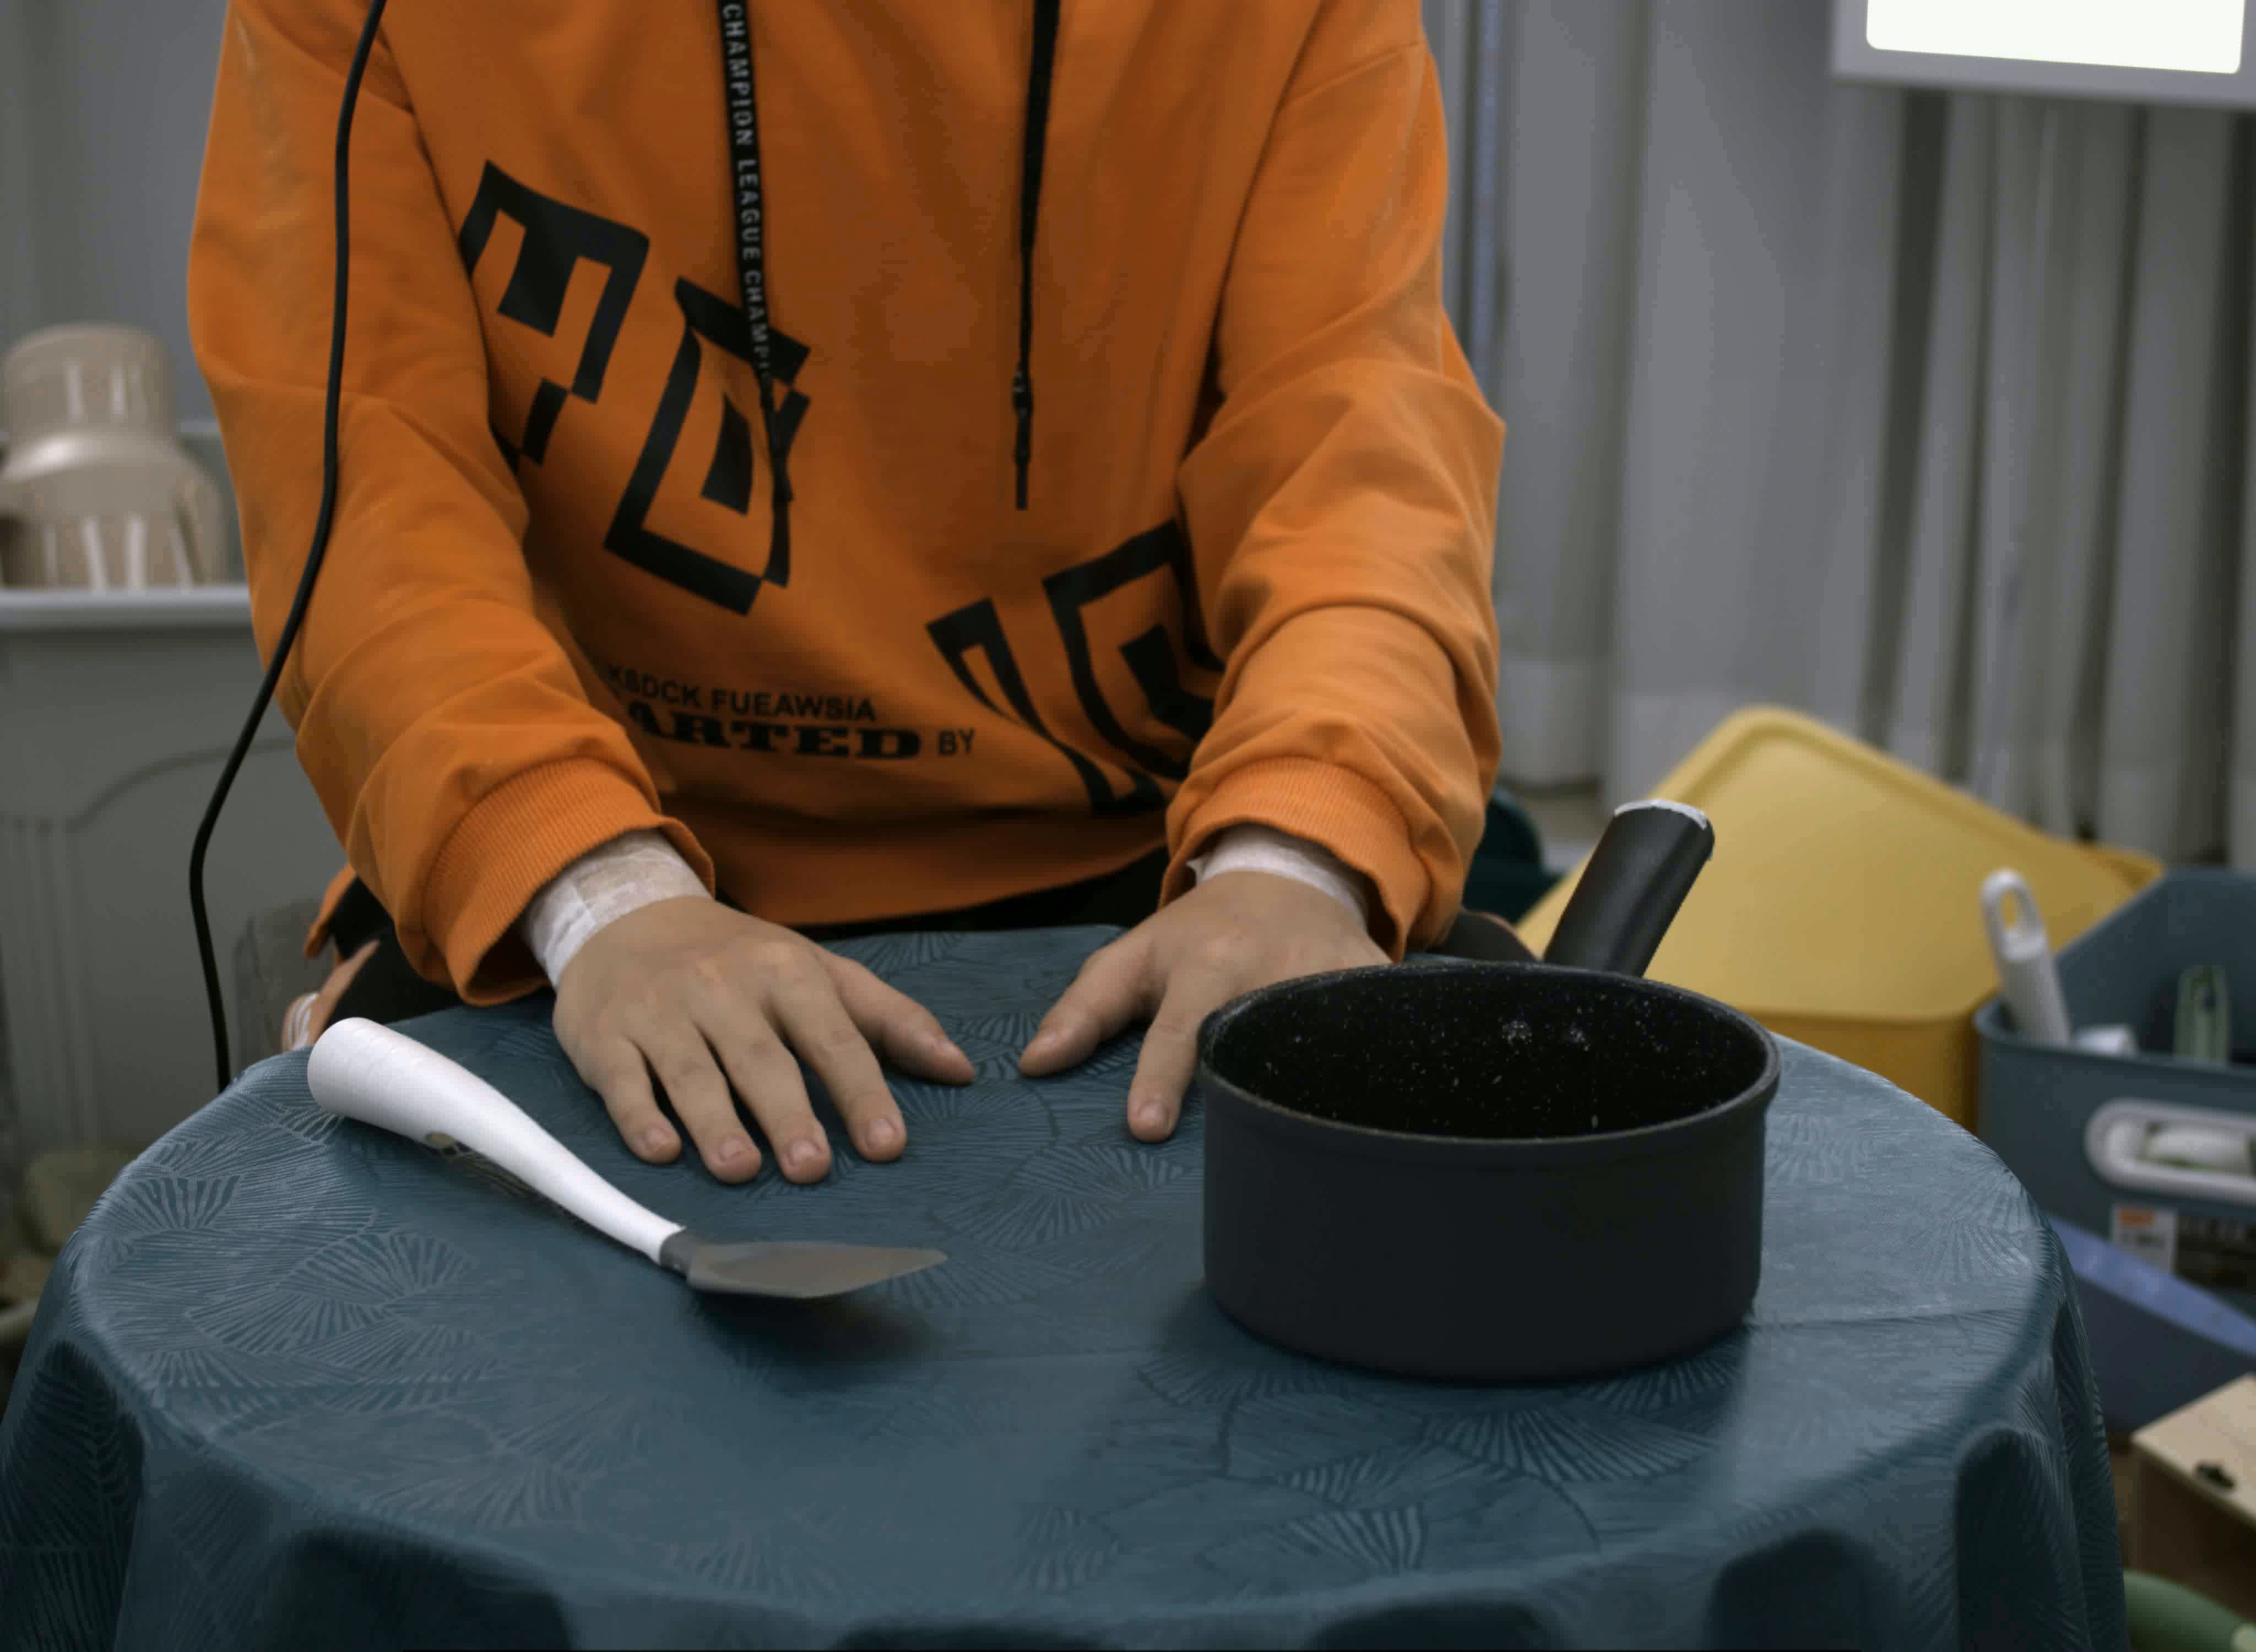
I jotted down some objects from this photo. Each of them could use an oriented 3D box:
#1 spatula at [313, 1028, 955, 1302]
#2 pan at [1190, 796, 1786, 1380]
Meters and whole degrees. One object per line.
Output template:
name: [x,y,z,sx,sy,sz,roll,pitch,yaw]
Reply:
spatula: [-0.156,0.107,1.577,0.059,0.032,0.284,-6,15,-40]
pan: [0.131,0.075,1.601,0.170,0.087,0.329,7,18,19]
